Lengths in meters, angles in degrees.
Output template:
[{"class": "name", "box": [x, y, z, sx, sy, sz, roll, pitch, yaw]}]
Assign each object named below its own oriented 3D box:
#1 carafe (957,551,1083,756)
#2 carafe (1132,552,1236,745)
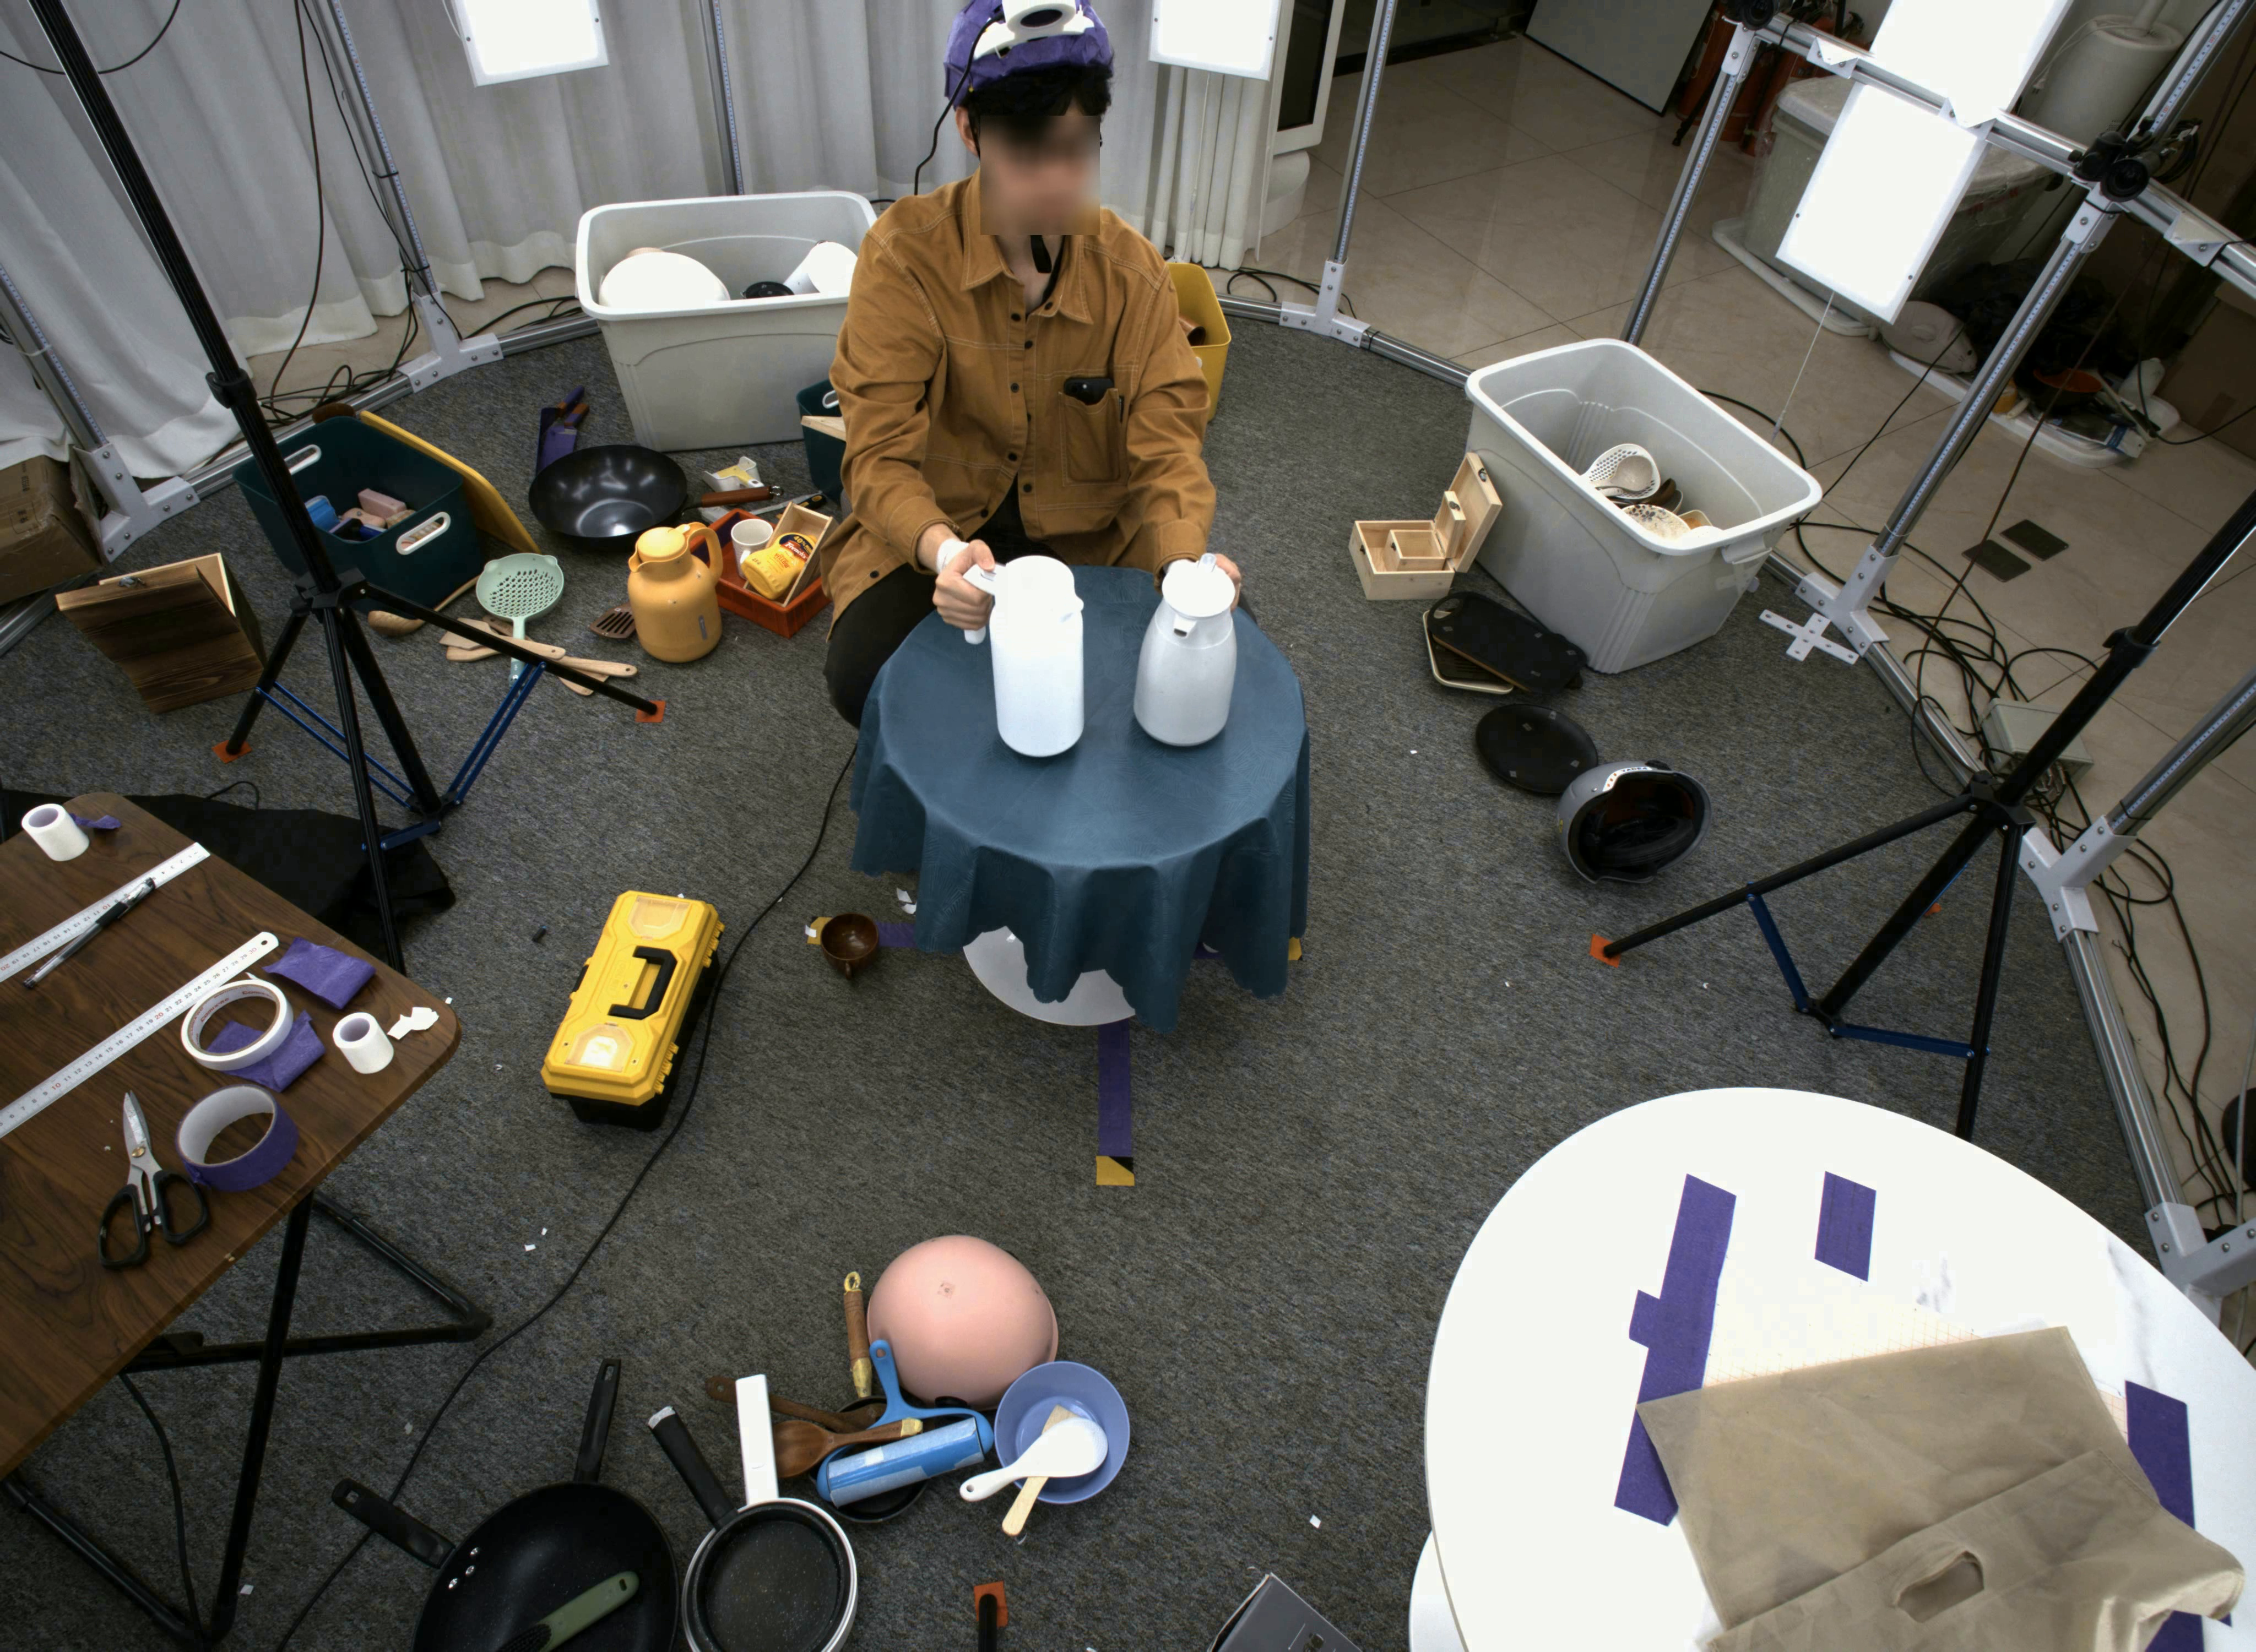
[{"class": "carafe", "box": [-0.134, -0.222, 1.655, 0.174, 0.262, 0.126, 23, 57, 18]}, {"class": "carafe", "box": [0.085, -0.247, 1.697, 0.133, 0.243, 0.171, 19, 56, 9]}]
